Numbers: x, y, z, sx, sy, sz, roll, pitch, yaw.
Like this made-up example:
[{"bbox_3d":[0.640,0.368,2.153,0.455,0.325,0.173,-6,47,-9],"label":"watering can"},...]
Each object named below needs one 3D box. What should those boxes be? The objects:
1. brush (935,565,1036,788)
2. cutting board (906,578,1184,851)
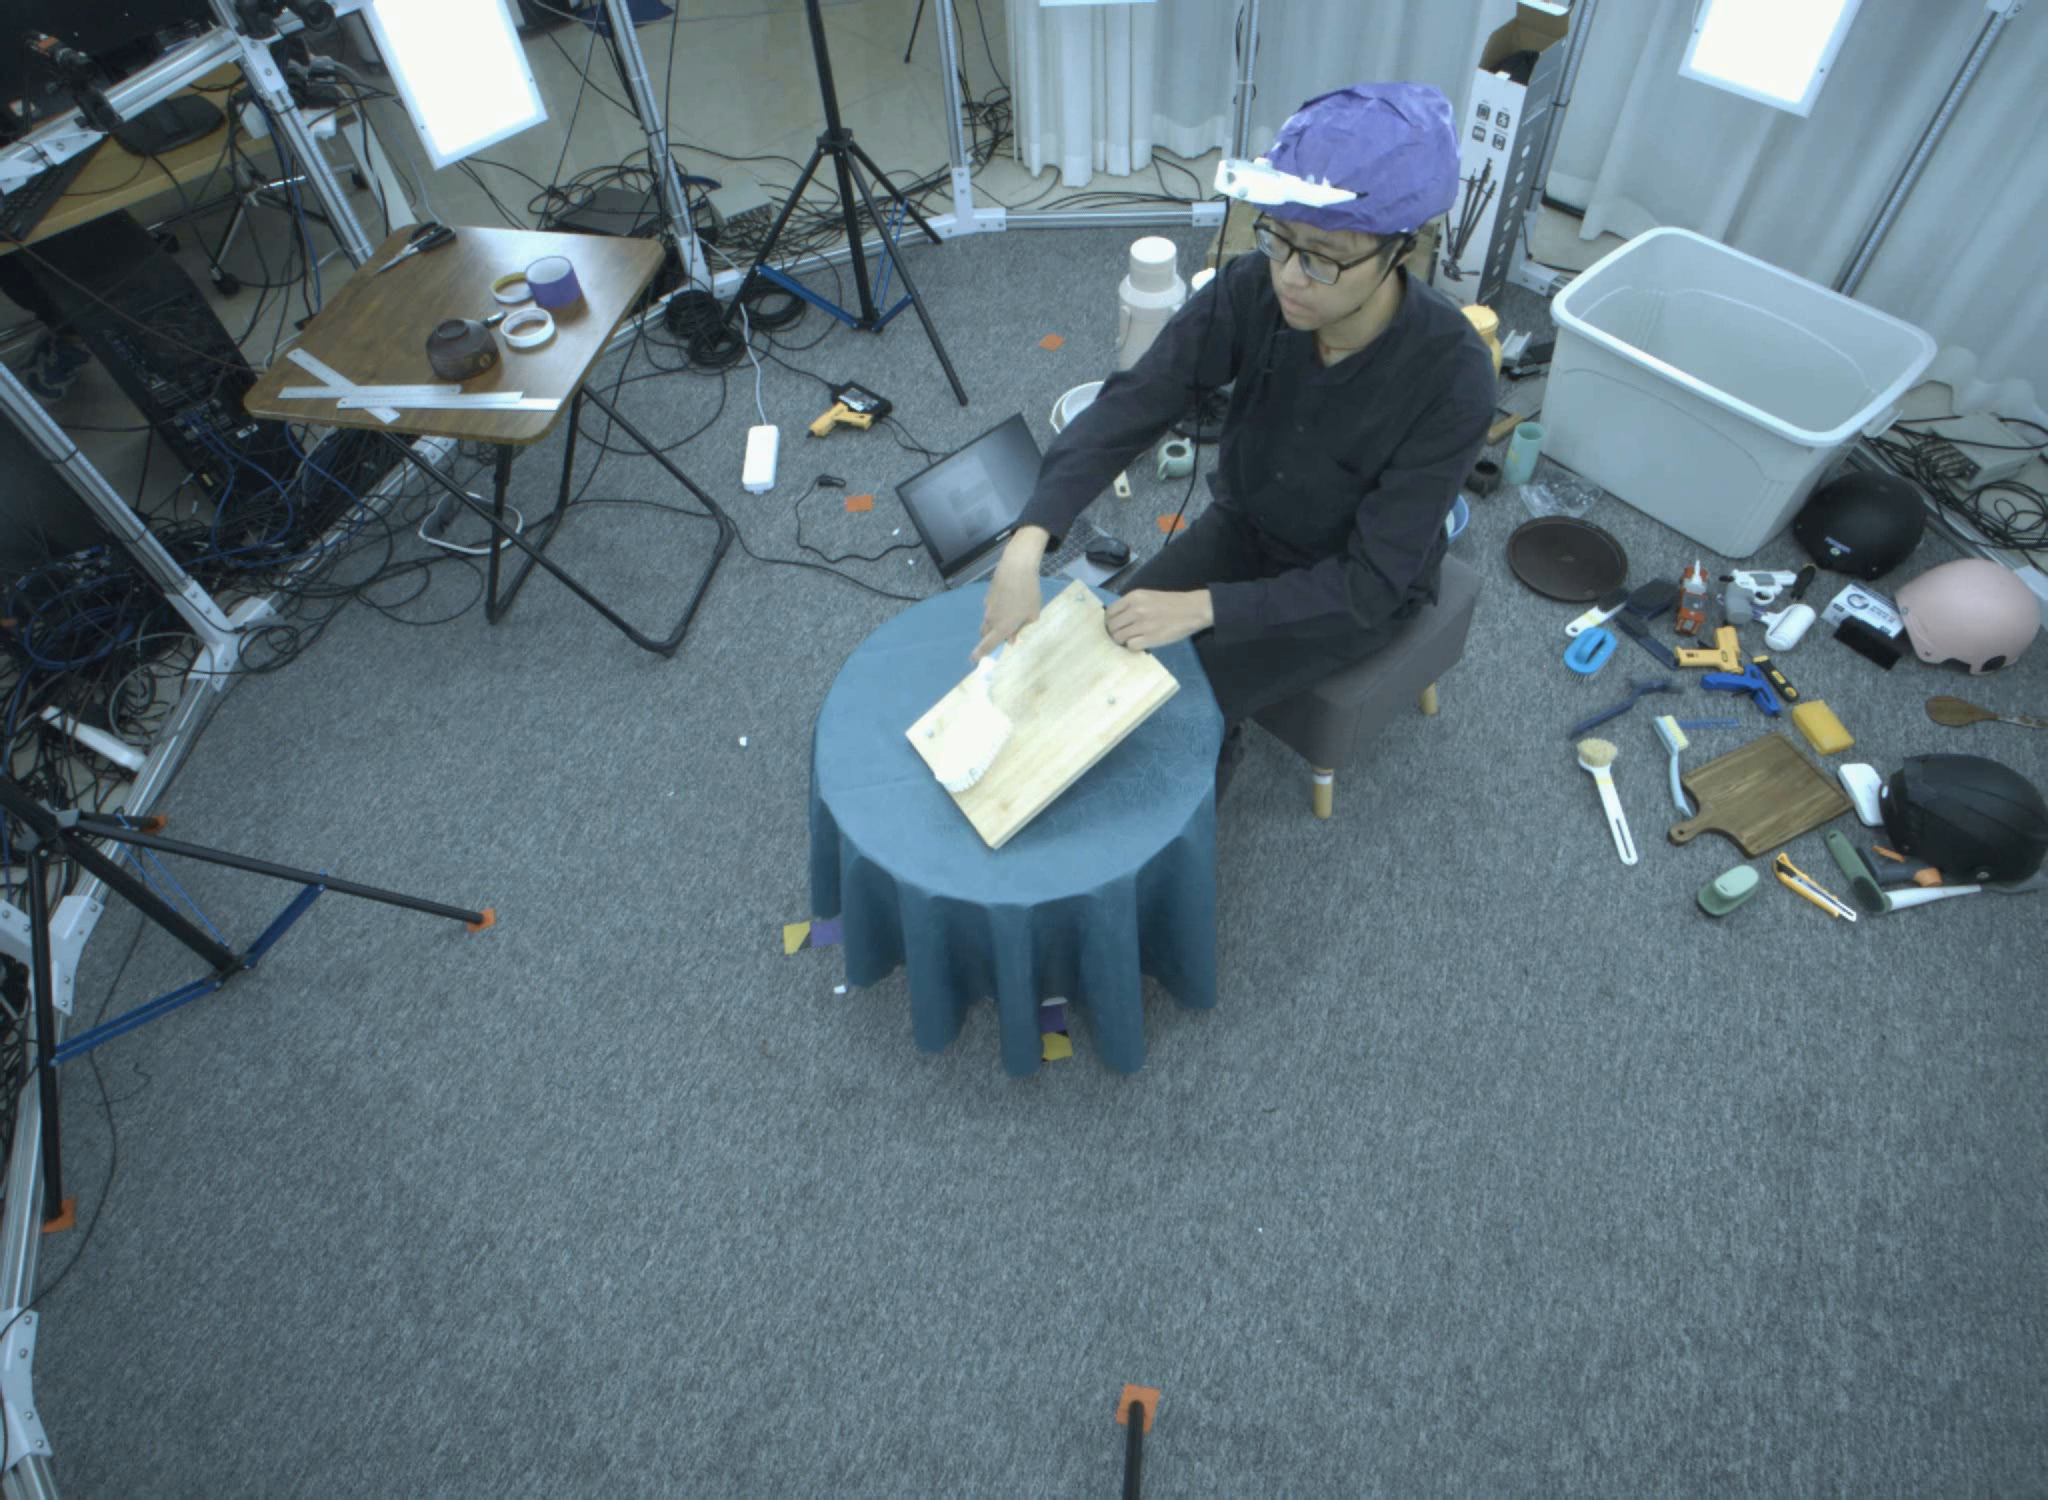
[{"bbox_3d":[-0.036,-0.098,1.718,0.084,0.084,0.325,22,89,-9],"label":"brush"},{"bbox_3d":[0.020,-0.055,1.734,0.348,0.024,0.246,-43,61,2],"label":"cutting board"}]
